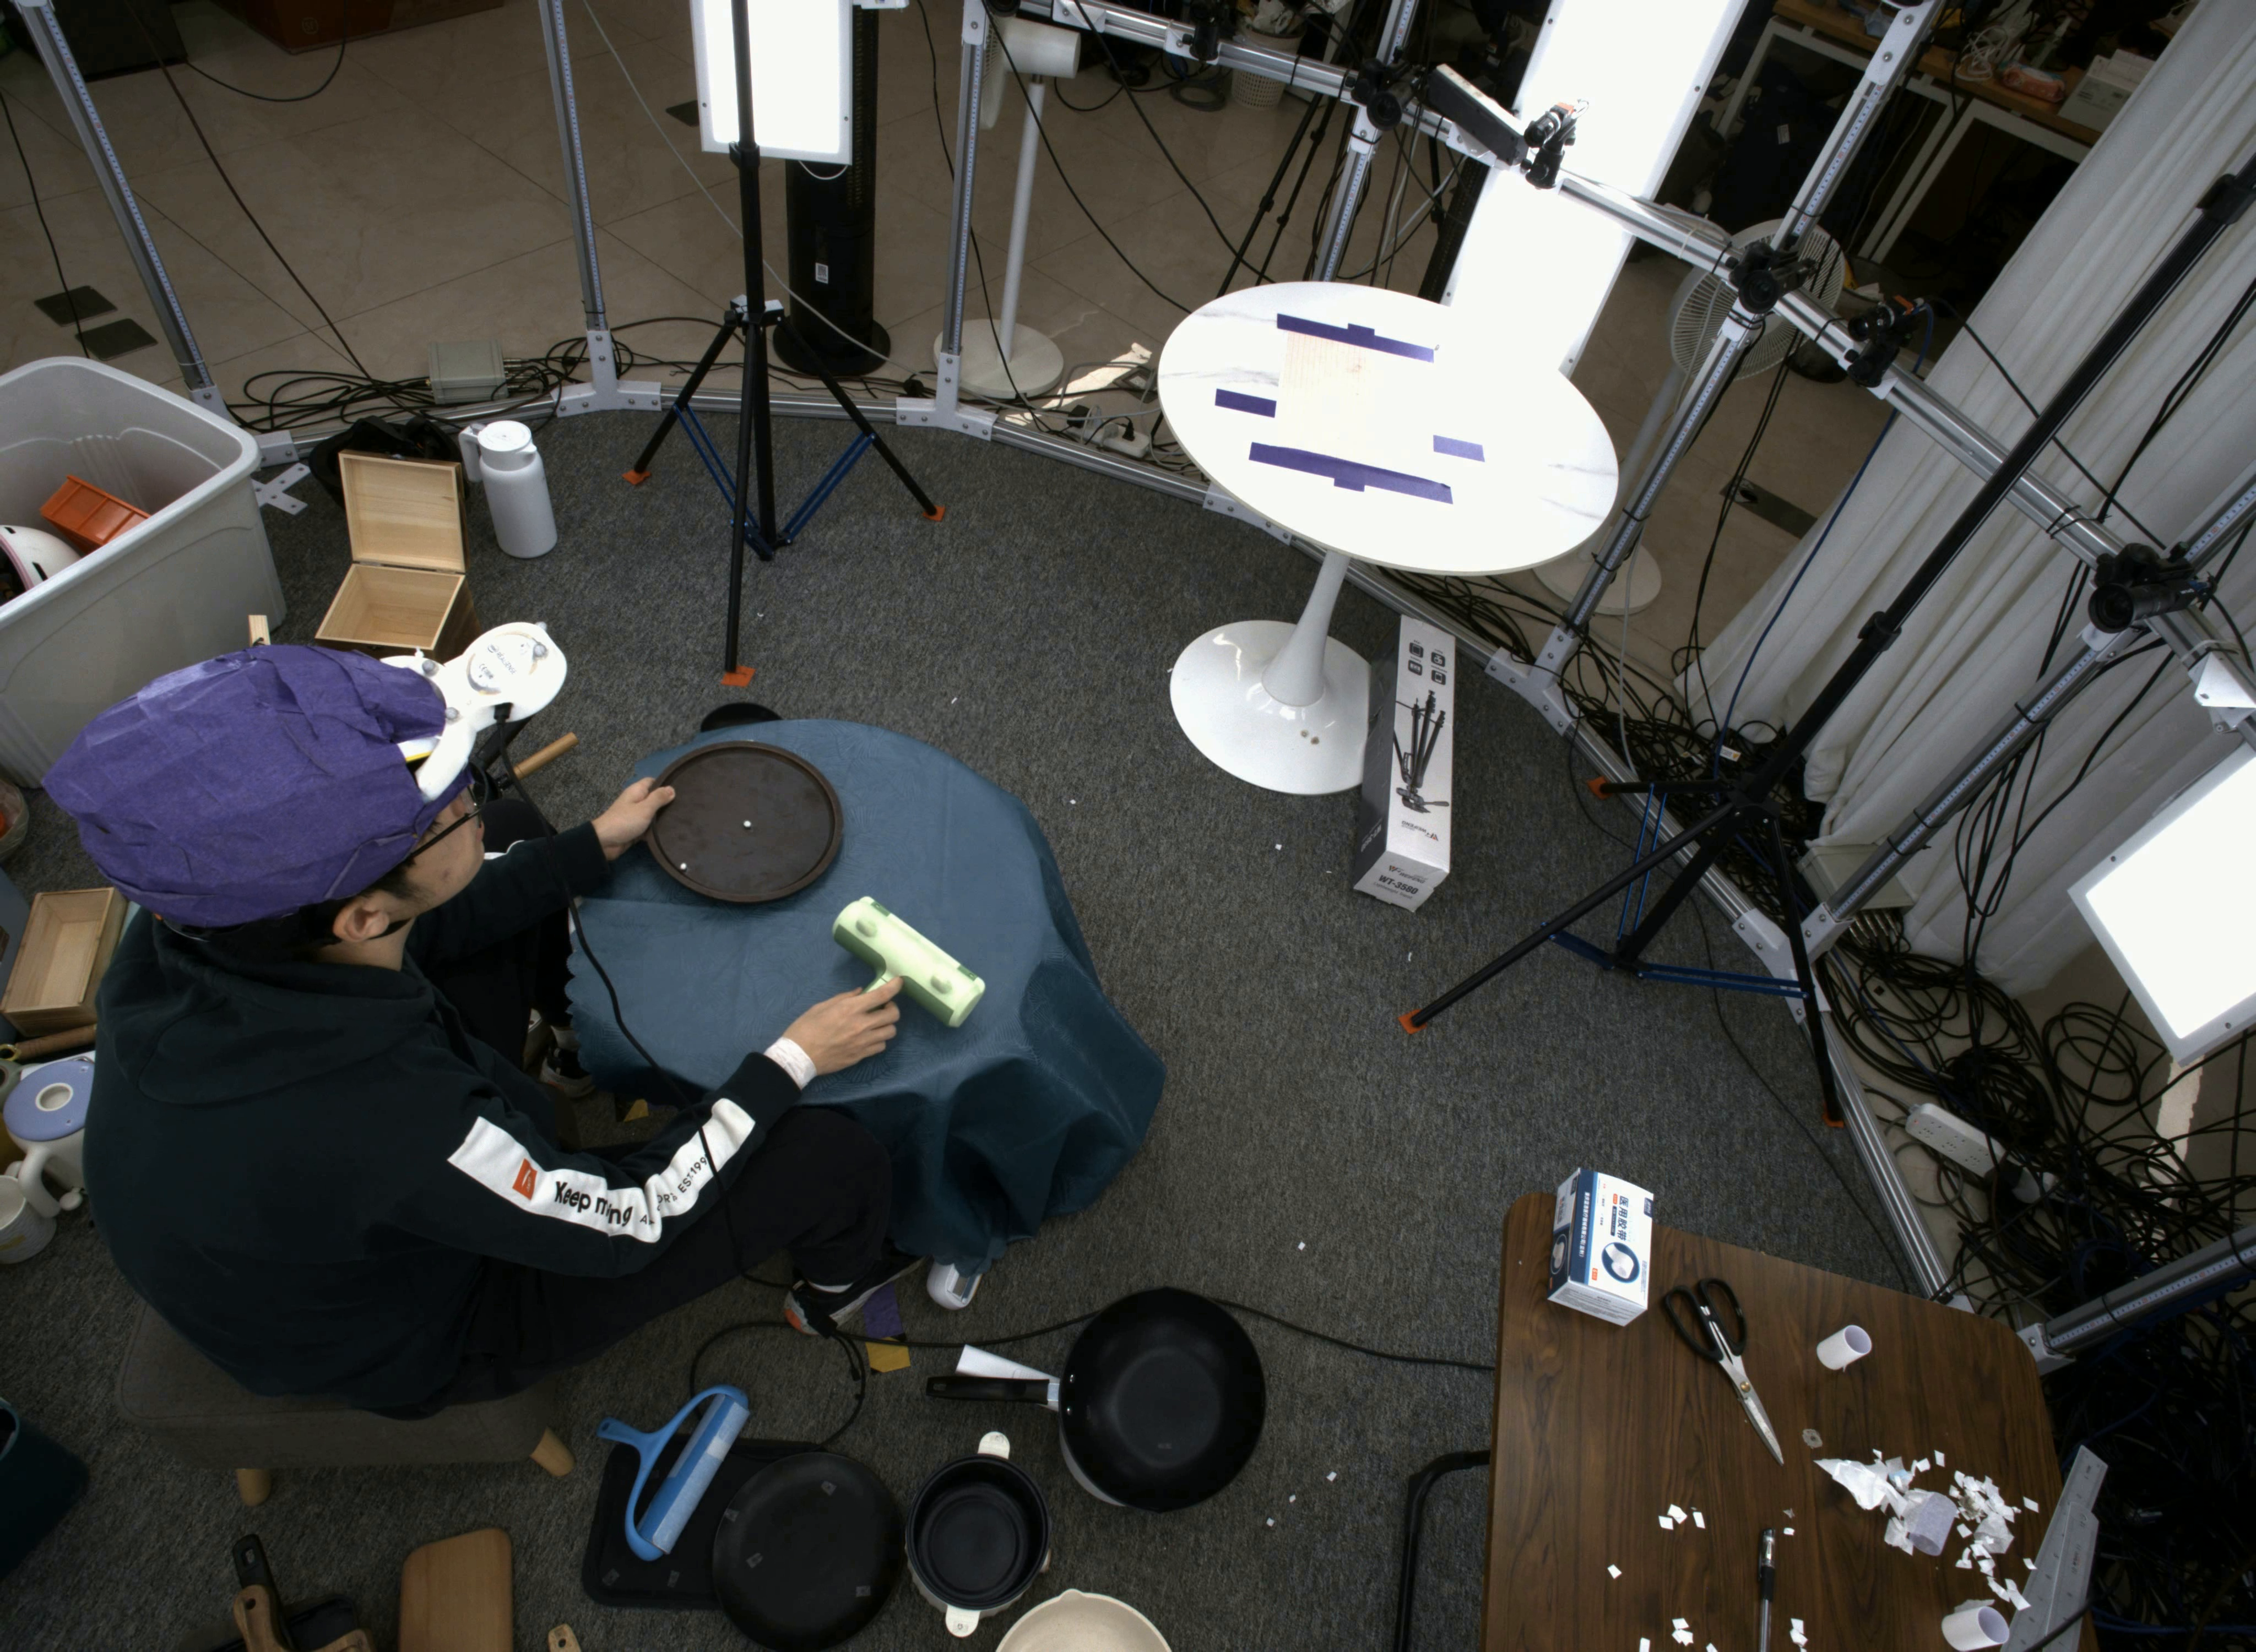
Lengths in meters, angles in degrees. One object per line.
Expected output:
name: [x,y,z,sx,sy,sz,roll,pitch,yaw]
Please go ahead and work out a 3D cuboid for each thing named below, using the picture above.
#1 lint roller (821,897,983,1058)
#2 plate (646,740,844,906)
lint roller: [-0.300,0.193,1.543,0.196,0.083,0.183,35,54,9]
plate: [-0.498,-0.006,1.684,0.256,0.029,0.250,12,55,-15]
